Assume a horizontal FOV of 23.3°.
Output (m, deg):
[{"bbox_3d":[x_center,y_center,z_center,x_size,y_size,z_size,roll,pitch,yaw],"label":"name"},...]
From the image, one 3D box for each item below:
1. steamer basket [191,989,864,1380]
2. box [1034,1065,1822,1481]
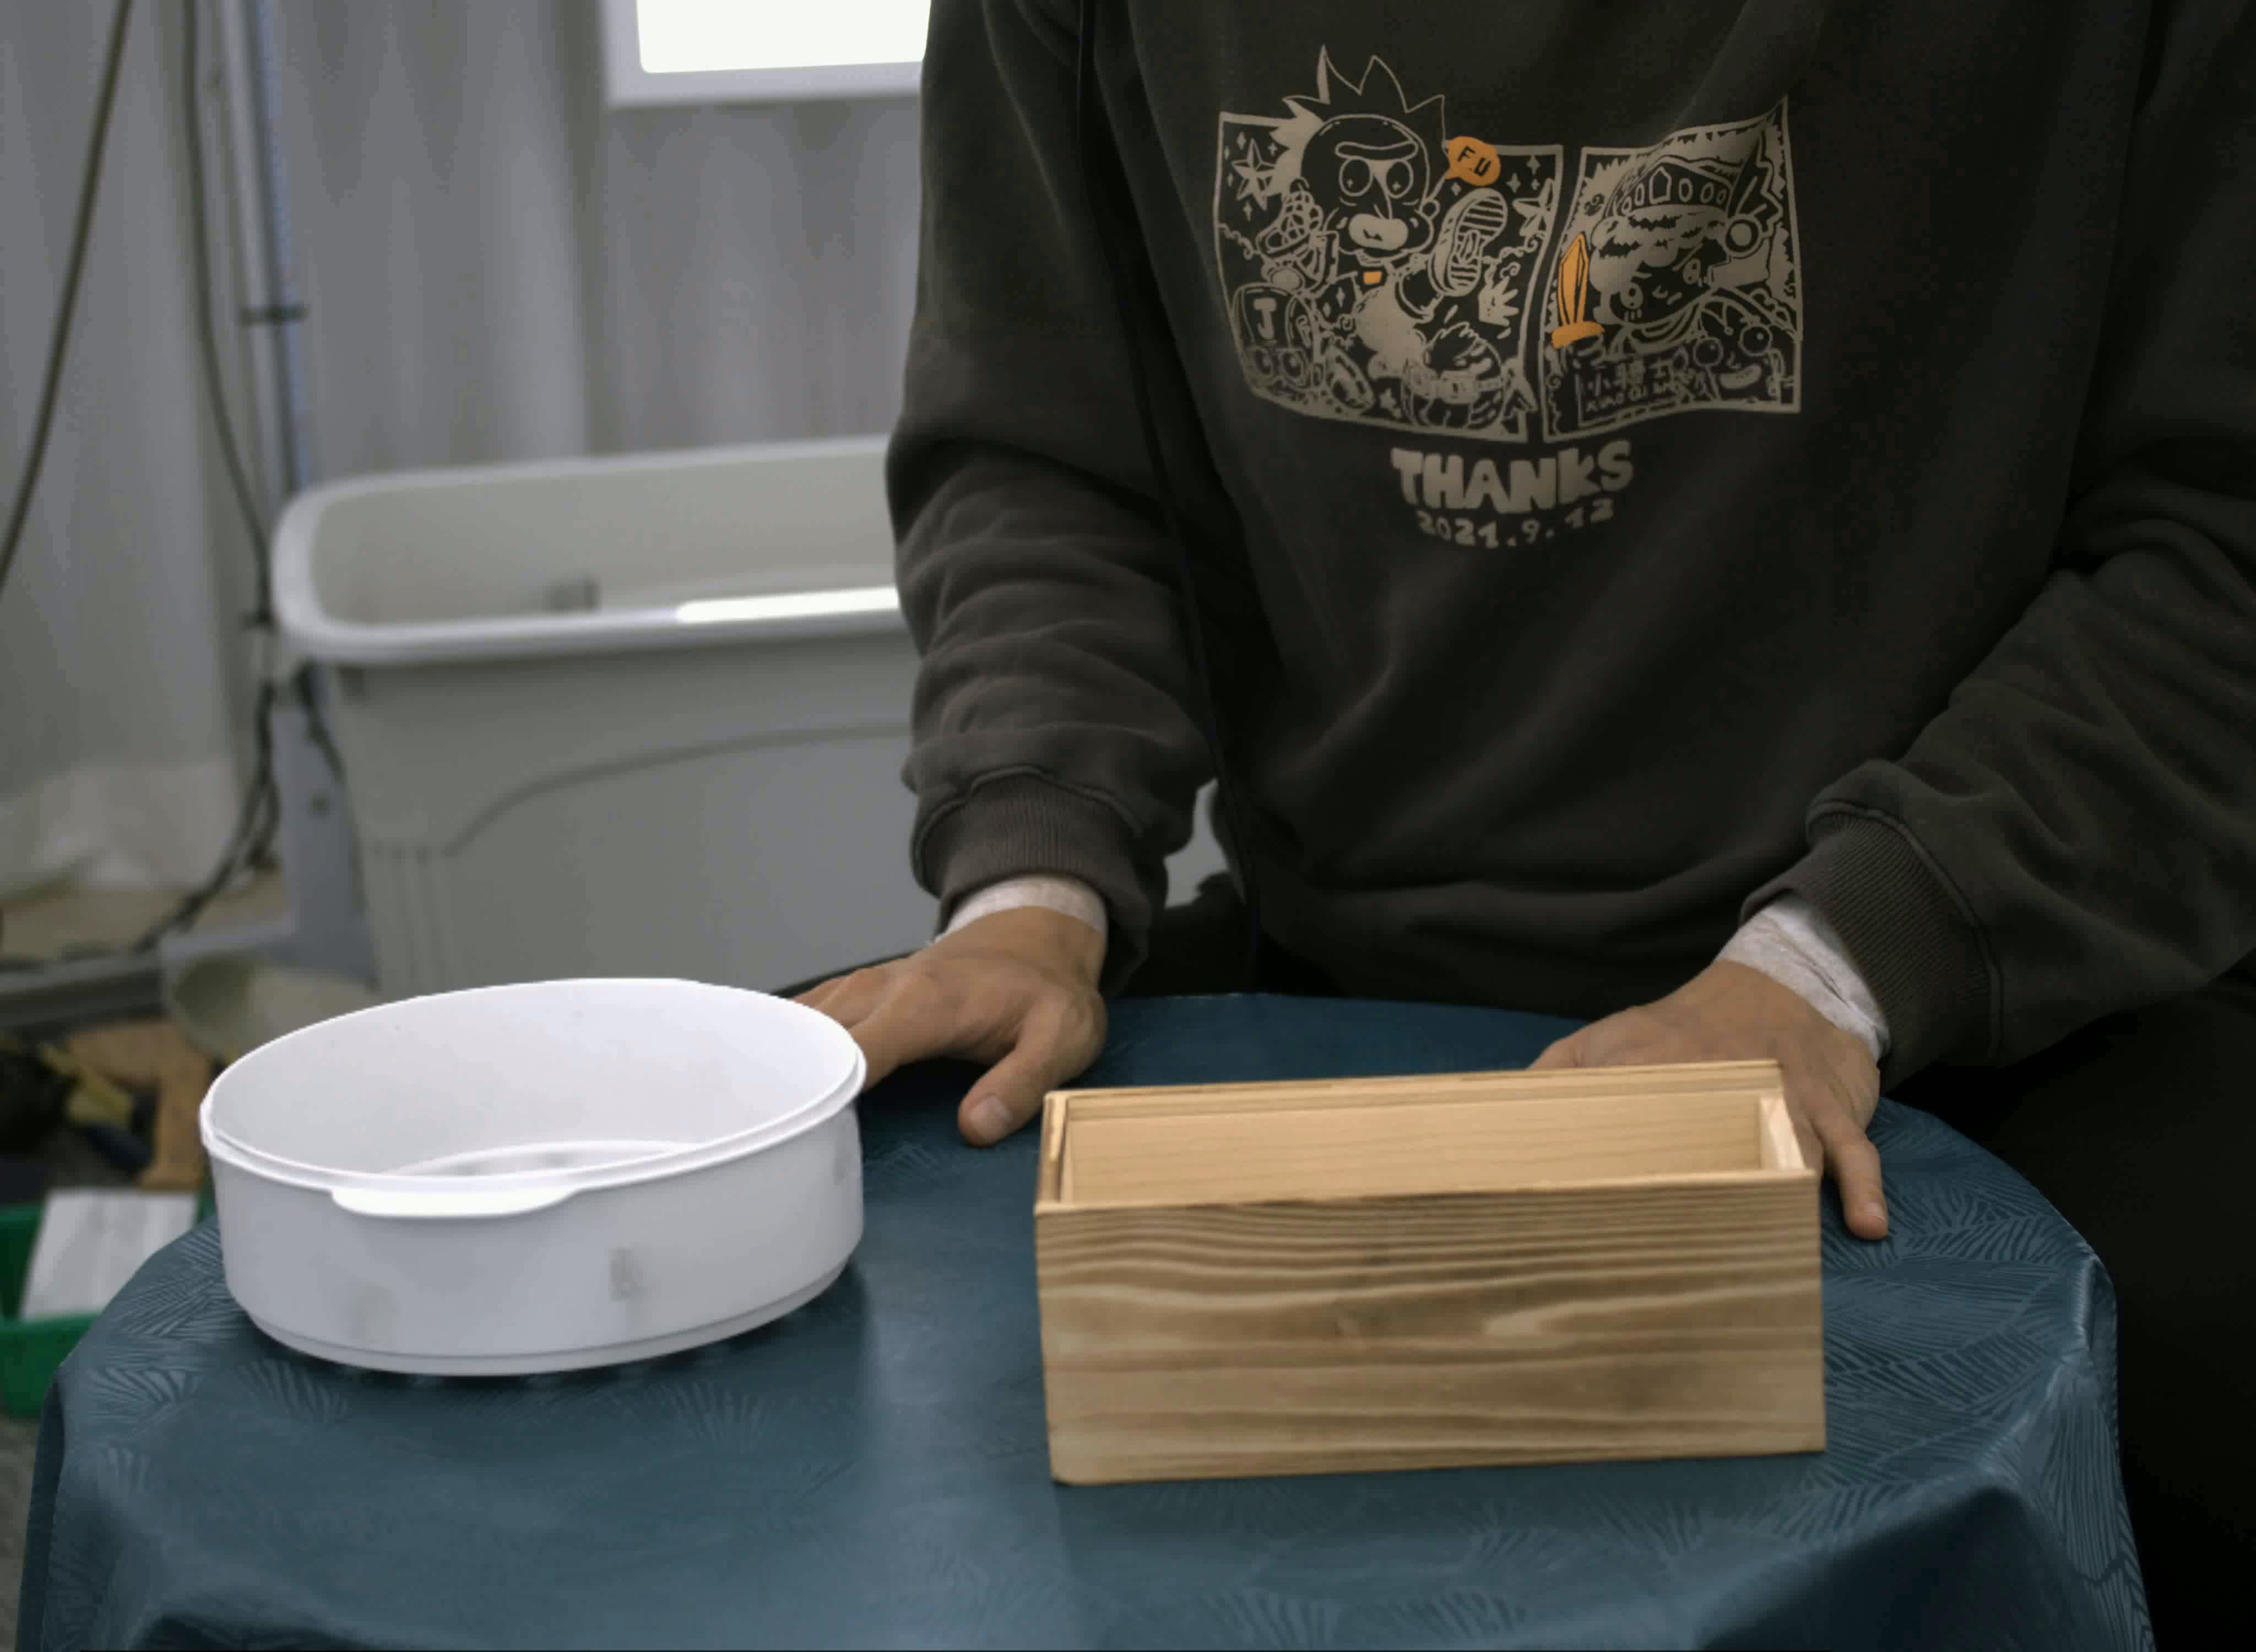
[{"bbox_3d":[-0.179,0.108,1.654,0.201,0.069,0.232,0,14,8],"label":"steamer basket"},{"bbox_3d":[0.082,0.123,1.521,0.211,0.080,0.108,-3,14,1],"label":"box"}]
